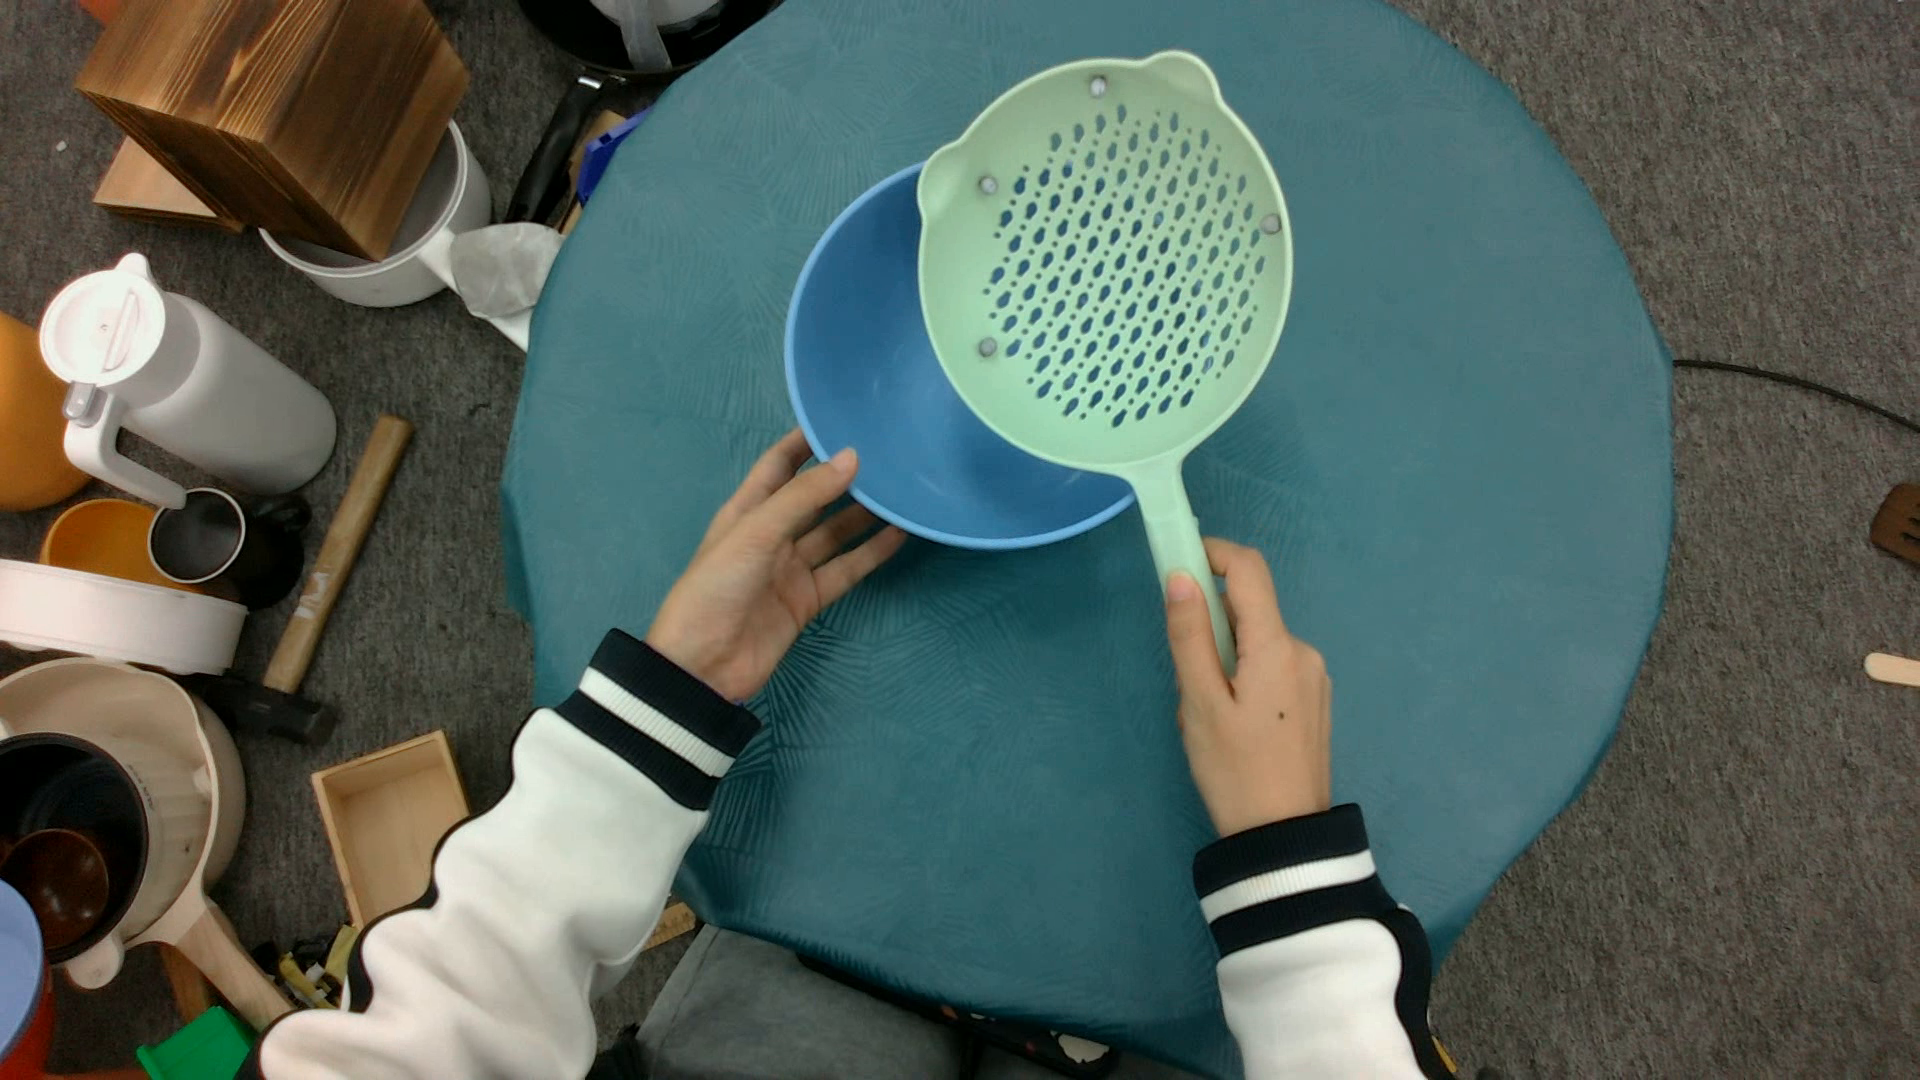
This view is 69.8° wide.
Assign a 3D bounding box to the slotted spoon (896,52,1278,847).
[{"bbox_3d":[0.084,-0.029,0.613,0.169,0.075,0.359,-14,89,26],"label":"slotted spoon"}]

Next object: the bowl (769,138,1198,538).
[{"bbox_3d":[0.011,-0.086,0.674,0.196,0.095,0.197,0,75,0],"label":"bowl"}]
